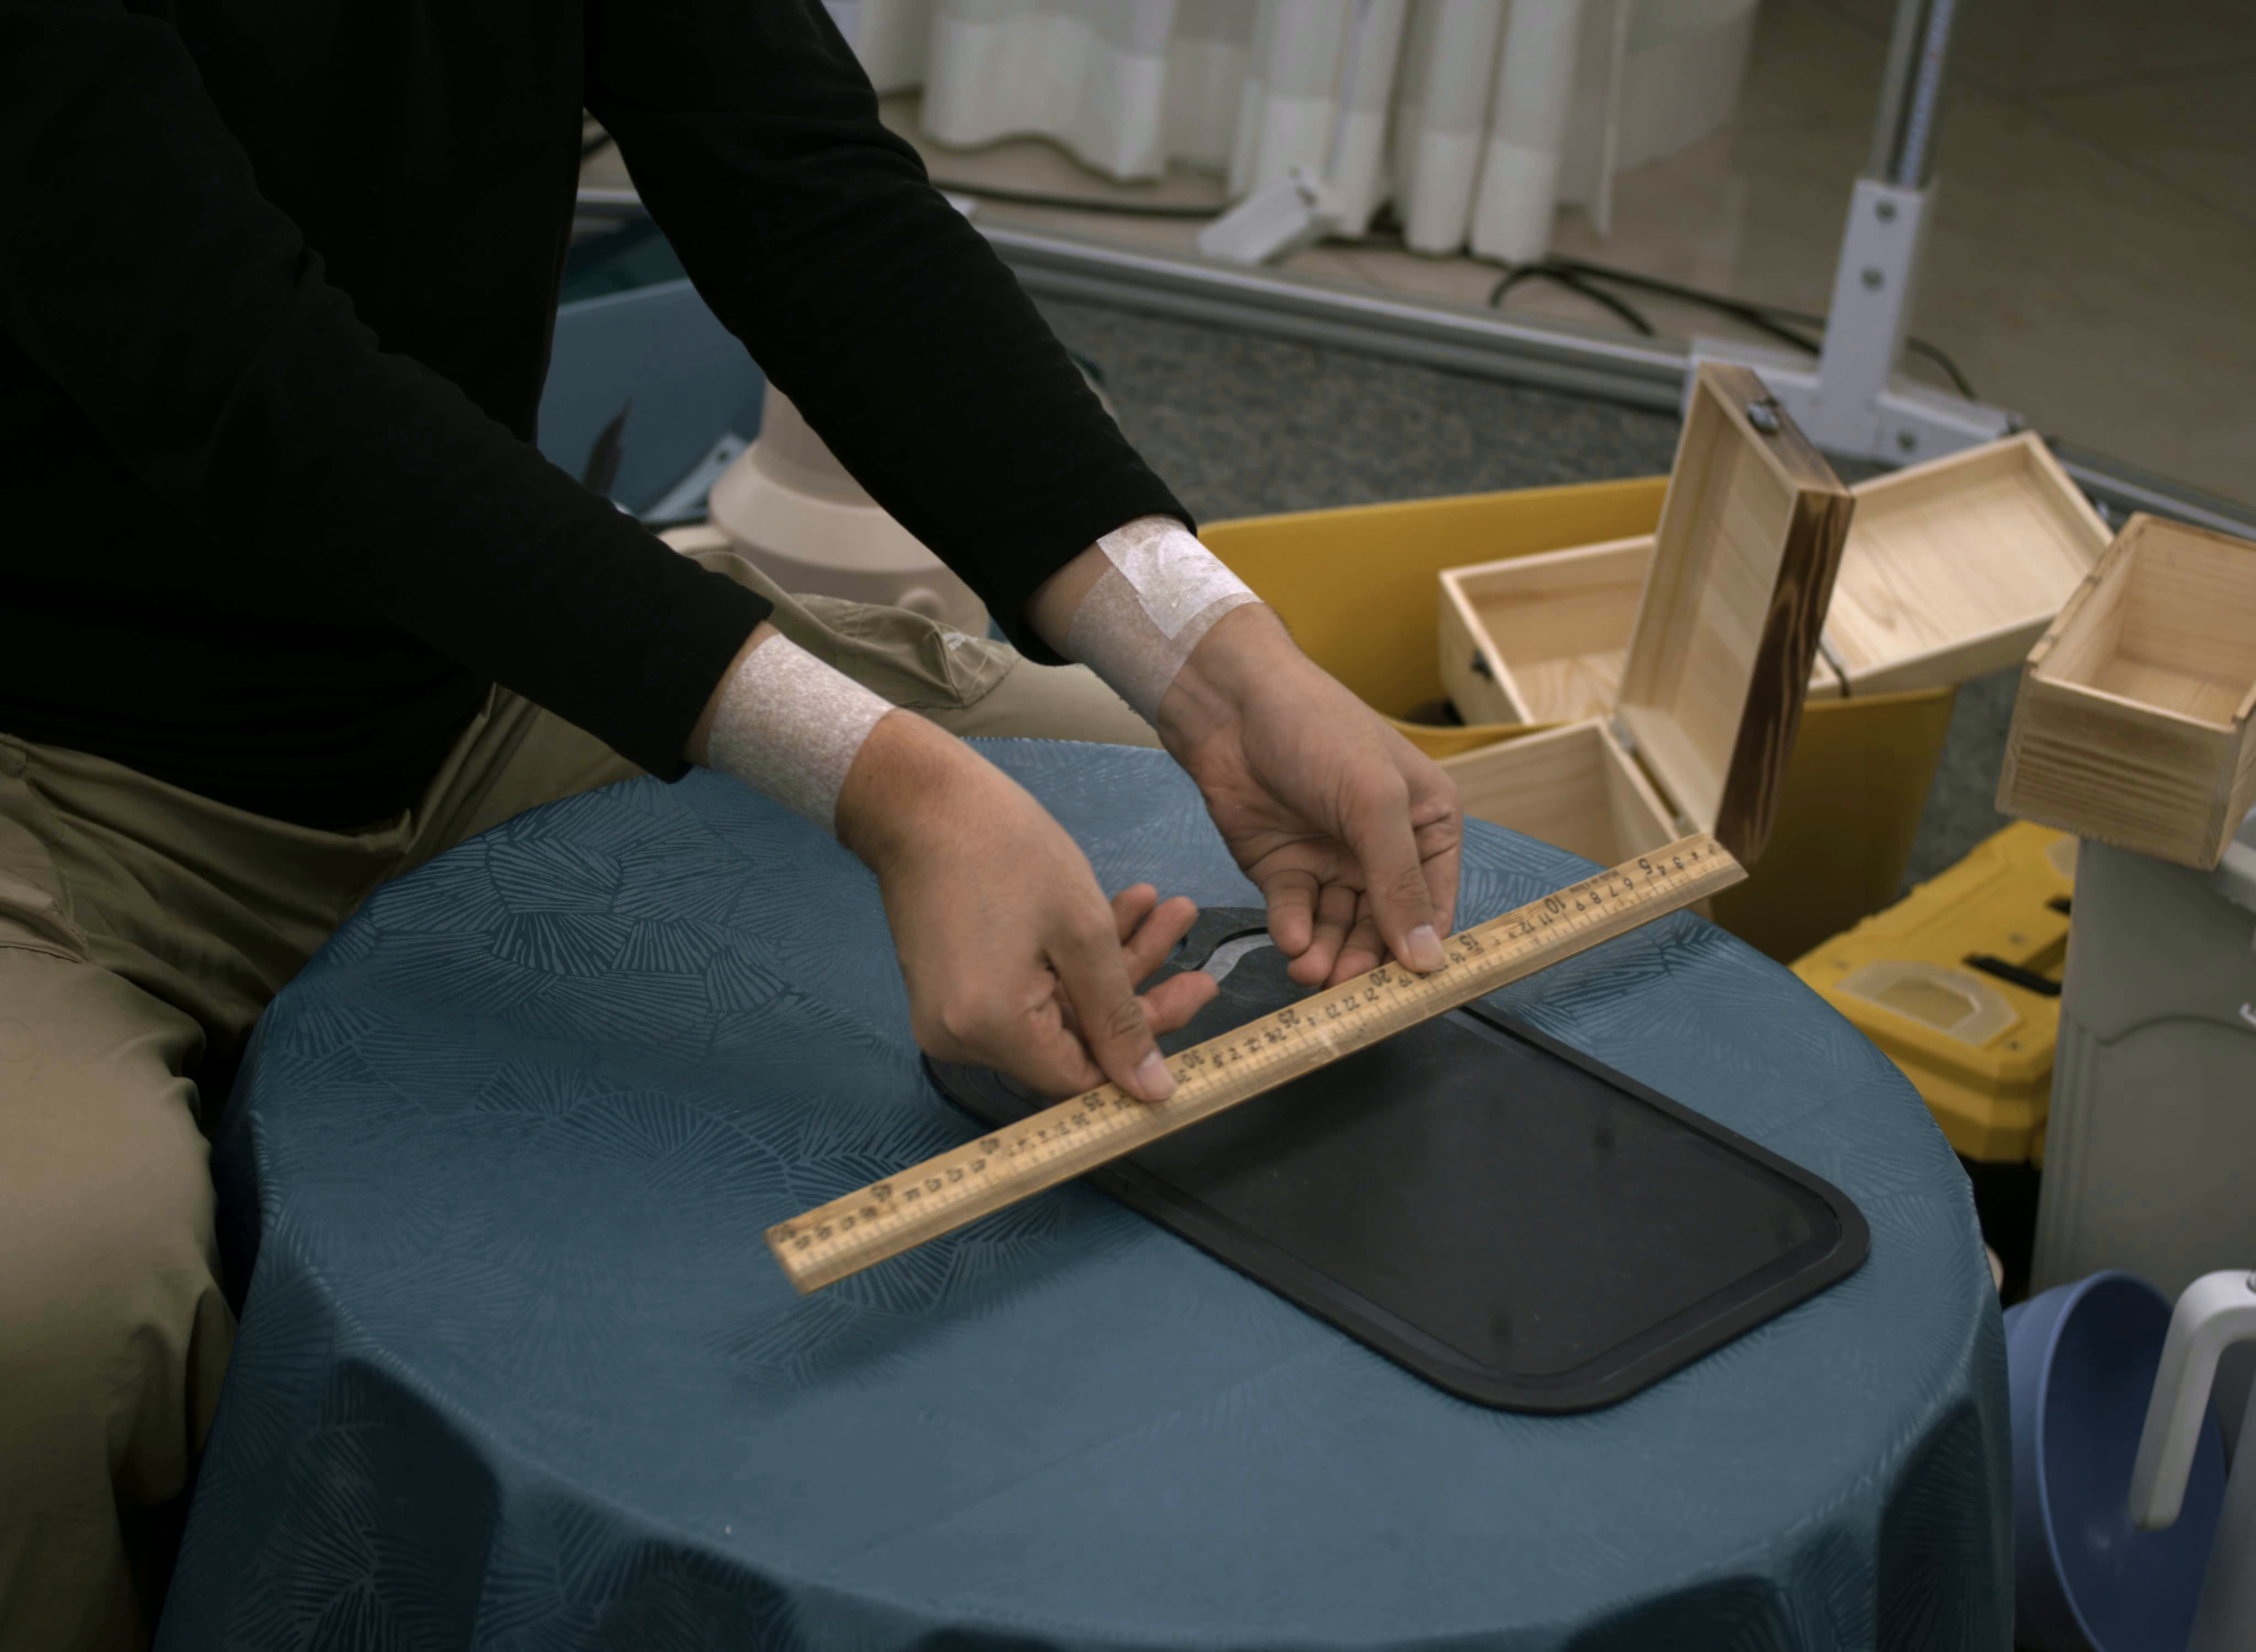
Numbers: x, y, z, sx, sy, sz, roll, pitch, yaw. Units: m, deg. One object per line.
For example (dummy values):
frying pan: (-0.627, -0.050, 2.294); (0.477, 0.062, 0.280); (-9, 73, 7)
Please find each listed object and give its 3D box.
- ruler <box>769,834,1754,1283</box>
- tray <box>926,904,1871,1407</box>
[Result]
ruler: (0.061, 0.073, 1.848); (0.498, 0.006, 0.027); (-20, 67, -44)
tray: (0.085, 0.105, 1.849); (0.328, 0.010, 0.210); (29, 34, 36)
